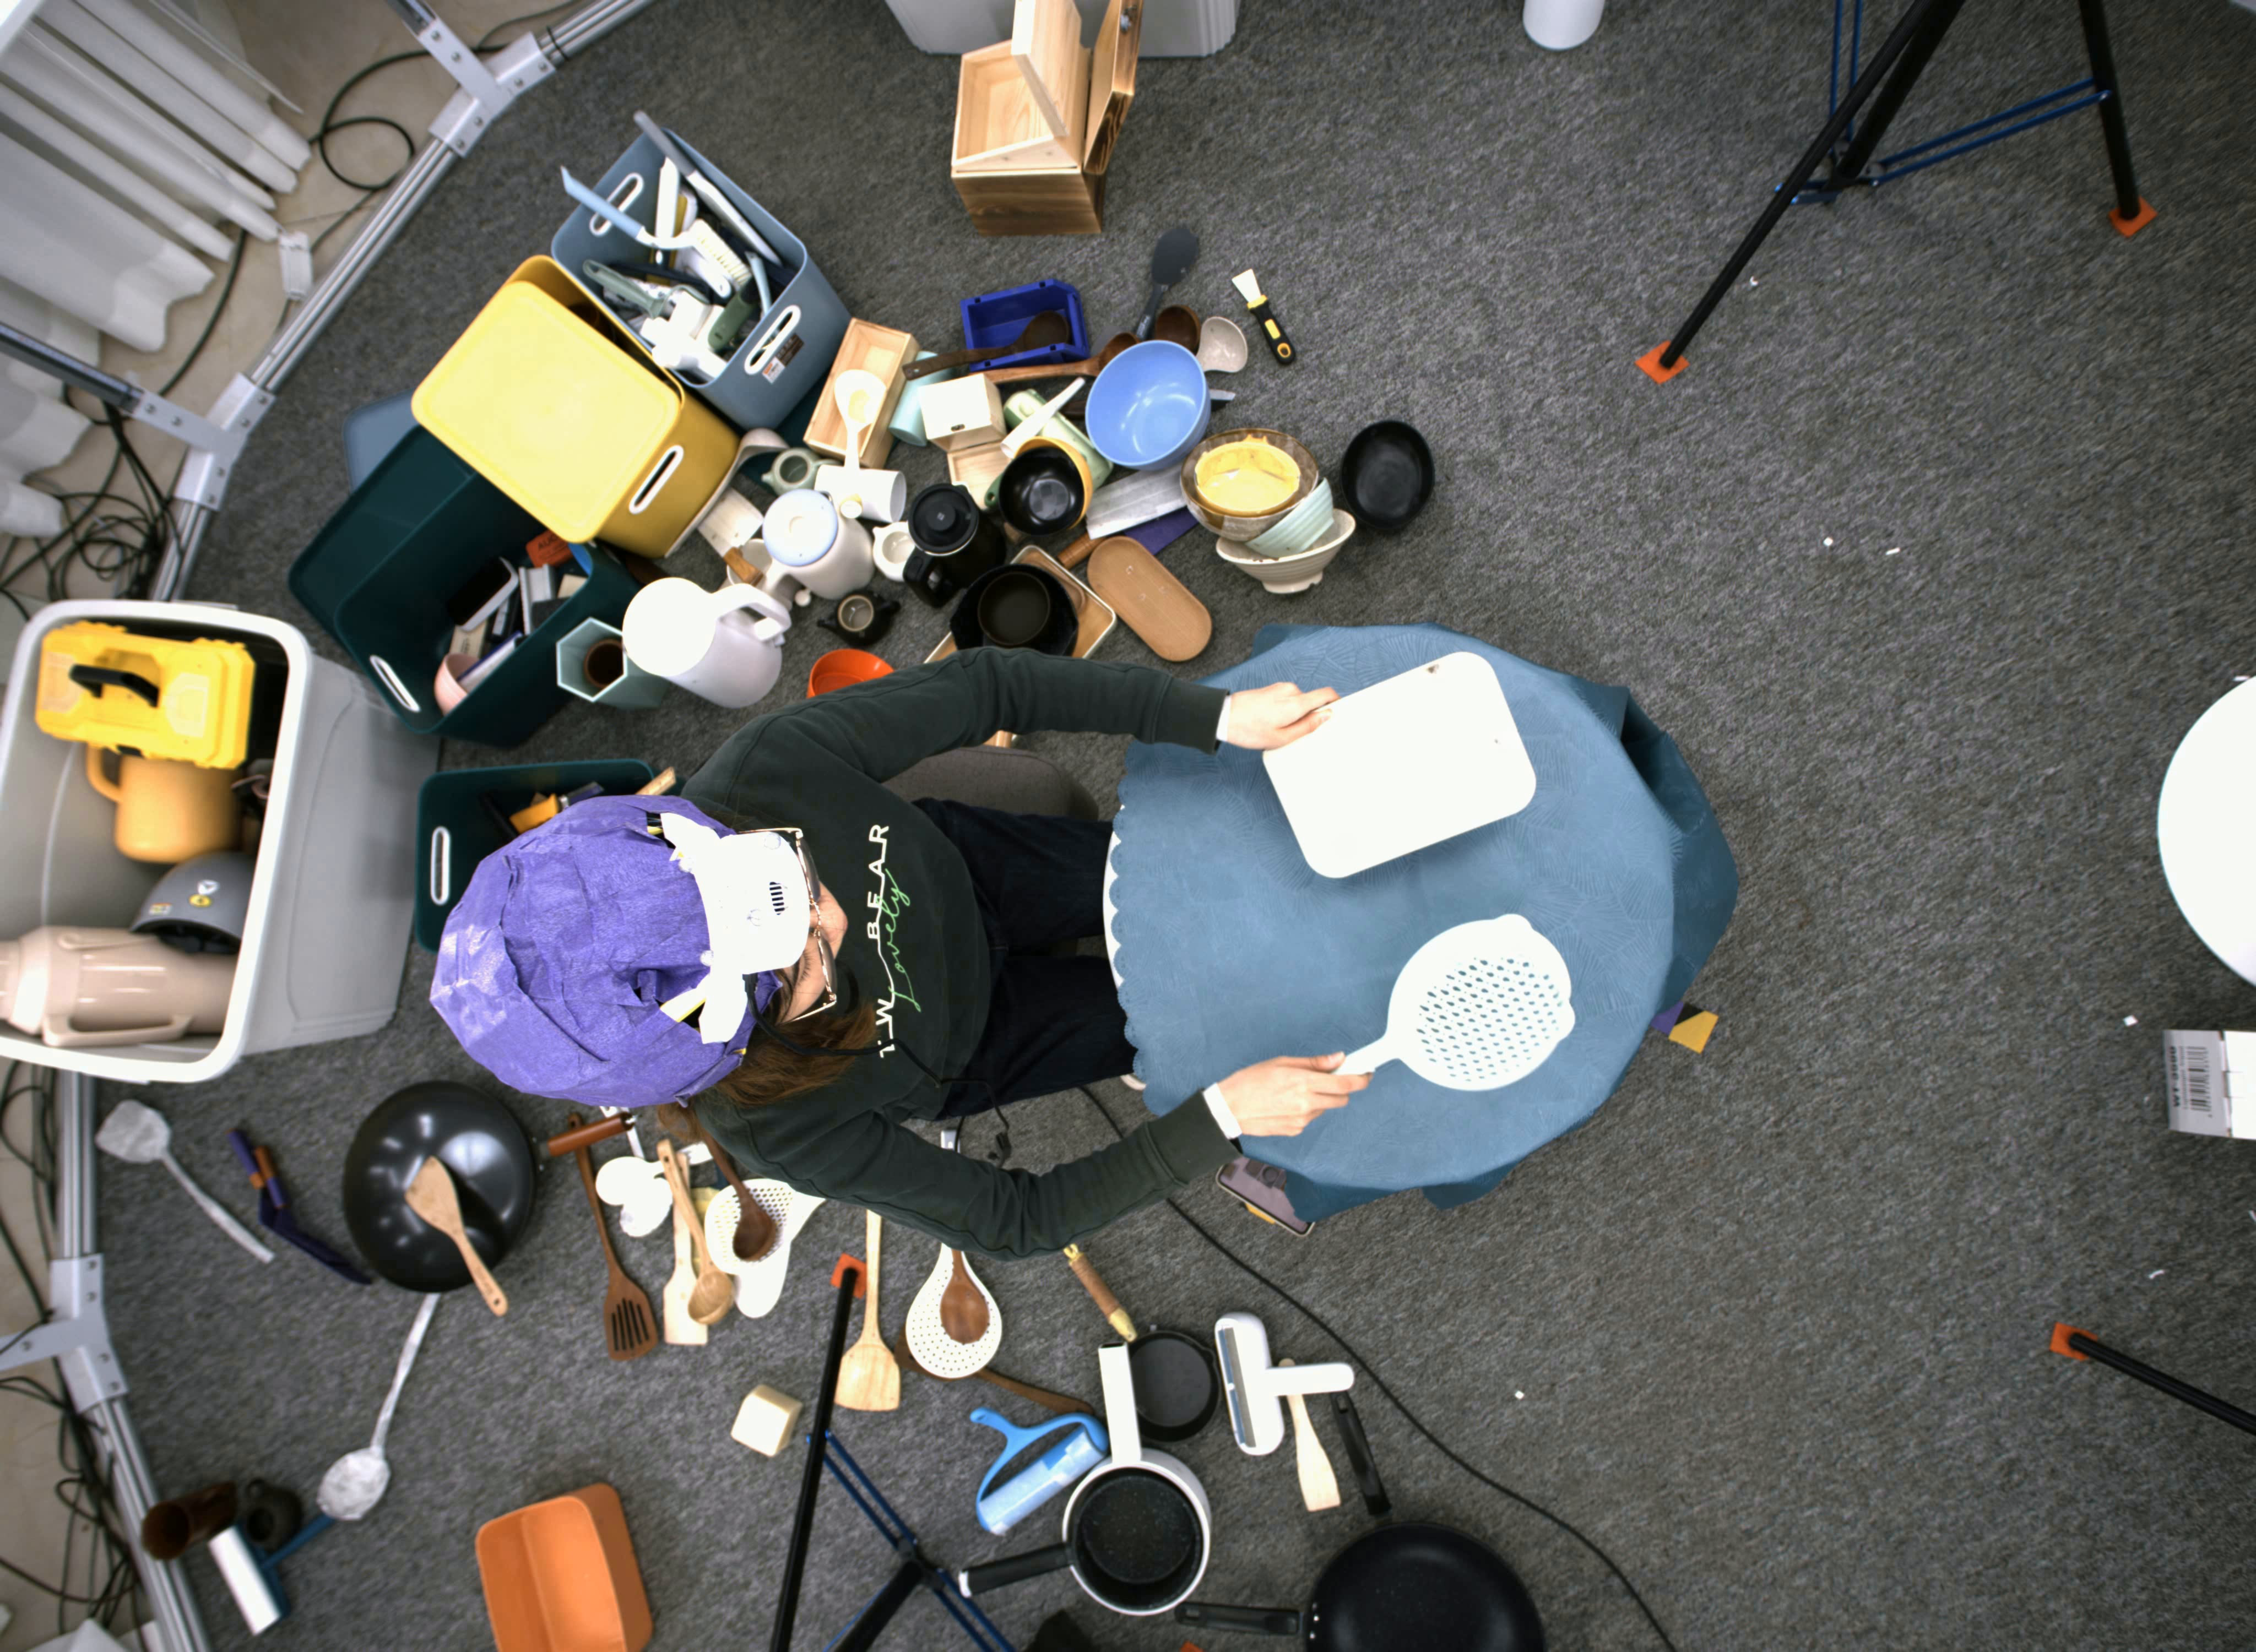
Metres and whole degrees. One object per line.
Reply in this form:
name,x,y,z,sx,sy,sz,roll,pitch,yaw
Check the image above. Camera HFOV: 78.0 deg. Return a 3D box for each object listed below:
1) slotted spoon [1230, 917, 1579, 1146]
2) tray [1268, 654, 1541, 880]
slotted spoon,0.249,0.215,1.301,0.361,0.076,0.165,-24,46,11
tray,0.272,-0.058,1.363,0.242,0.017,0.172,-22,102,18
